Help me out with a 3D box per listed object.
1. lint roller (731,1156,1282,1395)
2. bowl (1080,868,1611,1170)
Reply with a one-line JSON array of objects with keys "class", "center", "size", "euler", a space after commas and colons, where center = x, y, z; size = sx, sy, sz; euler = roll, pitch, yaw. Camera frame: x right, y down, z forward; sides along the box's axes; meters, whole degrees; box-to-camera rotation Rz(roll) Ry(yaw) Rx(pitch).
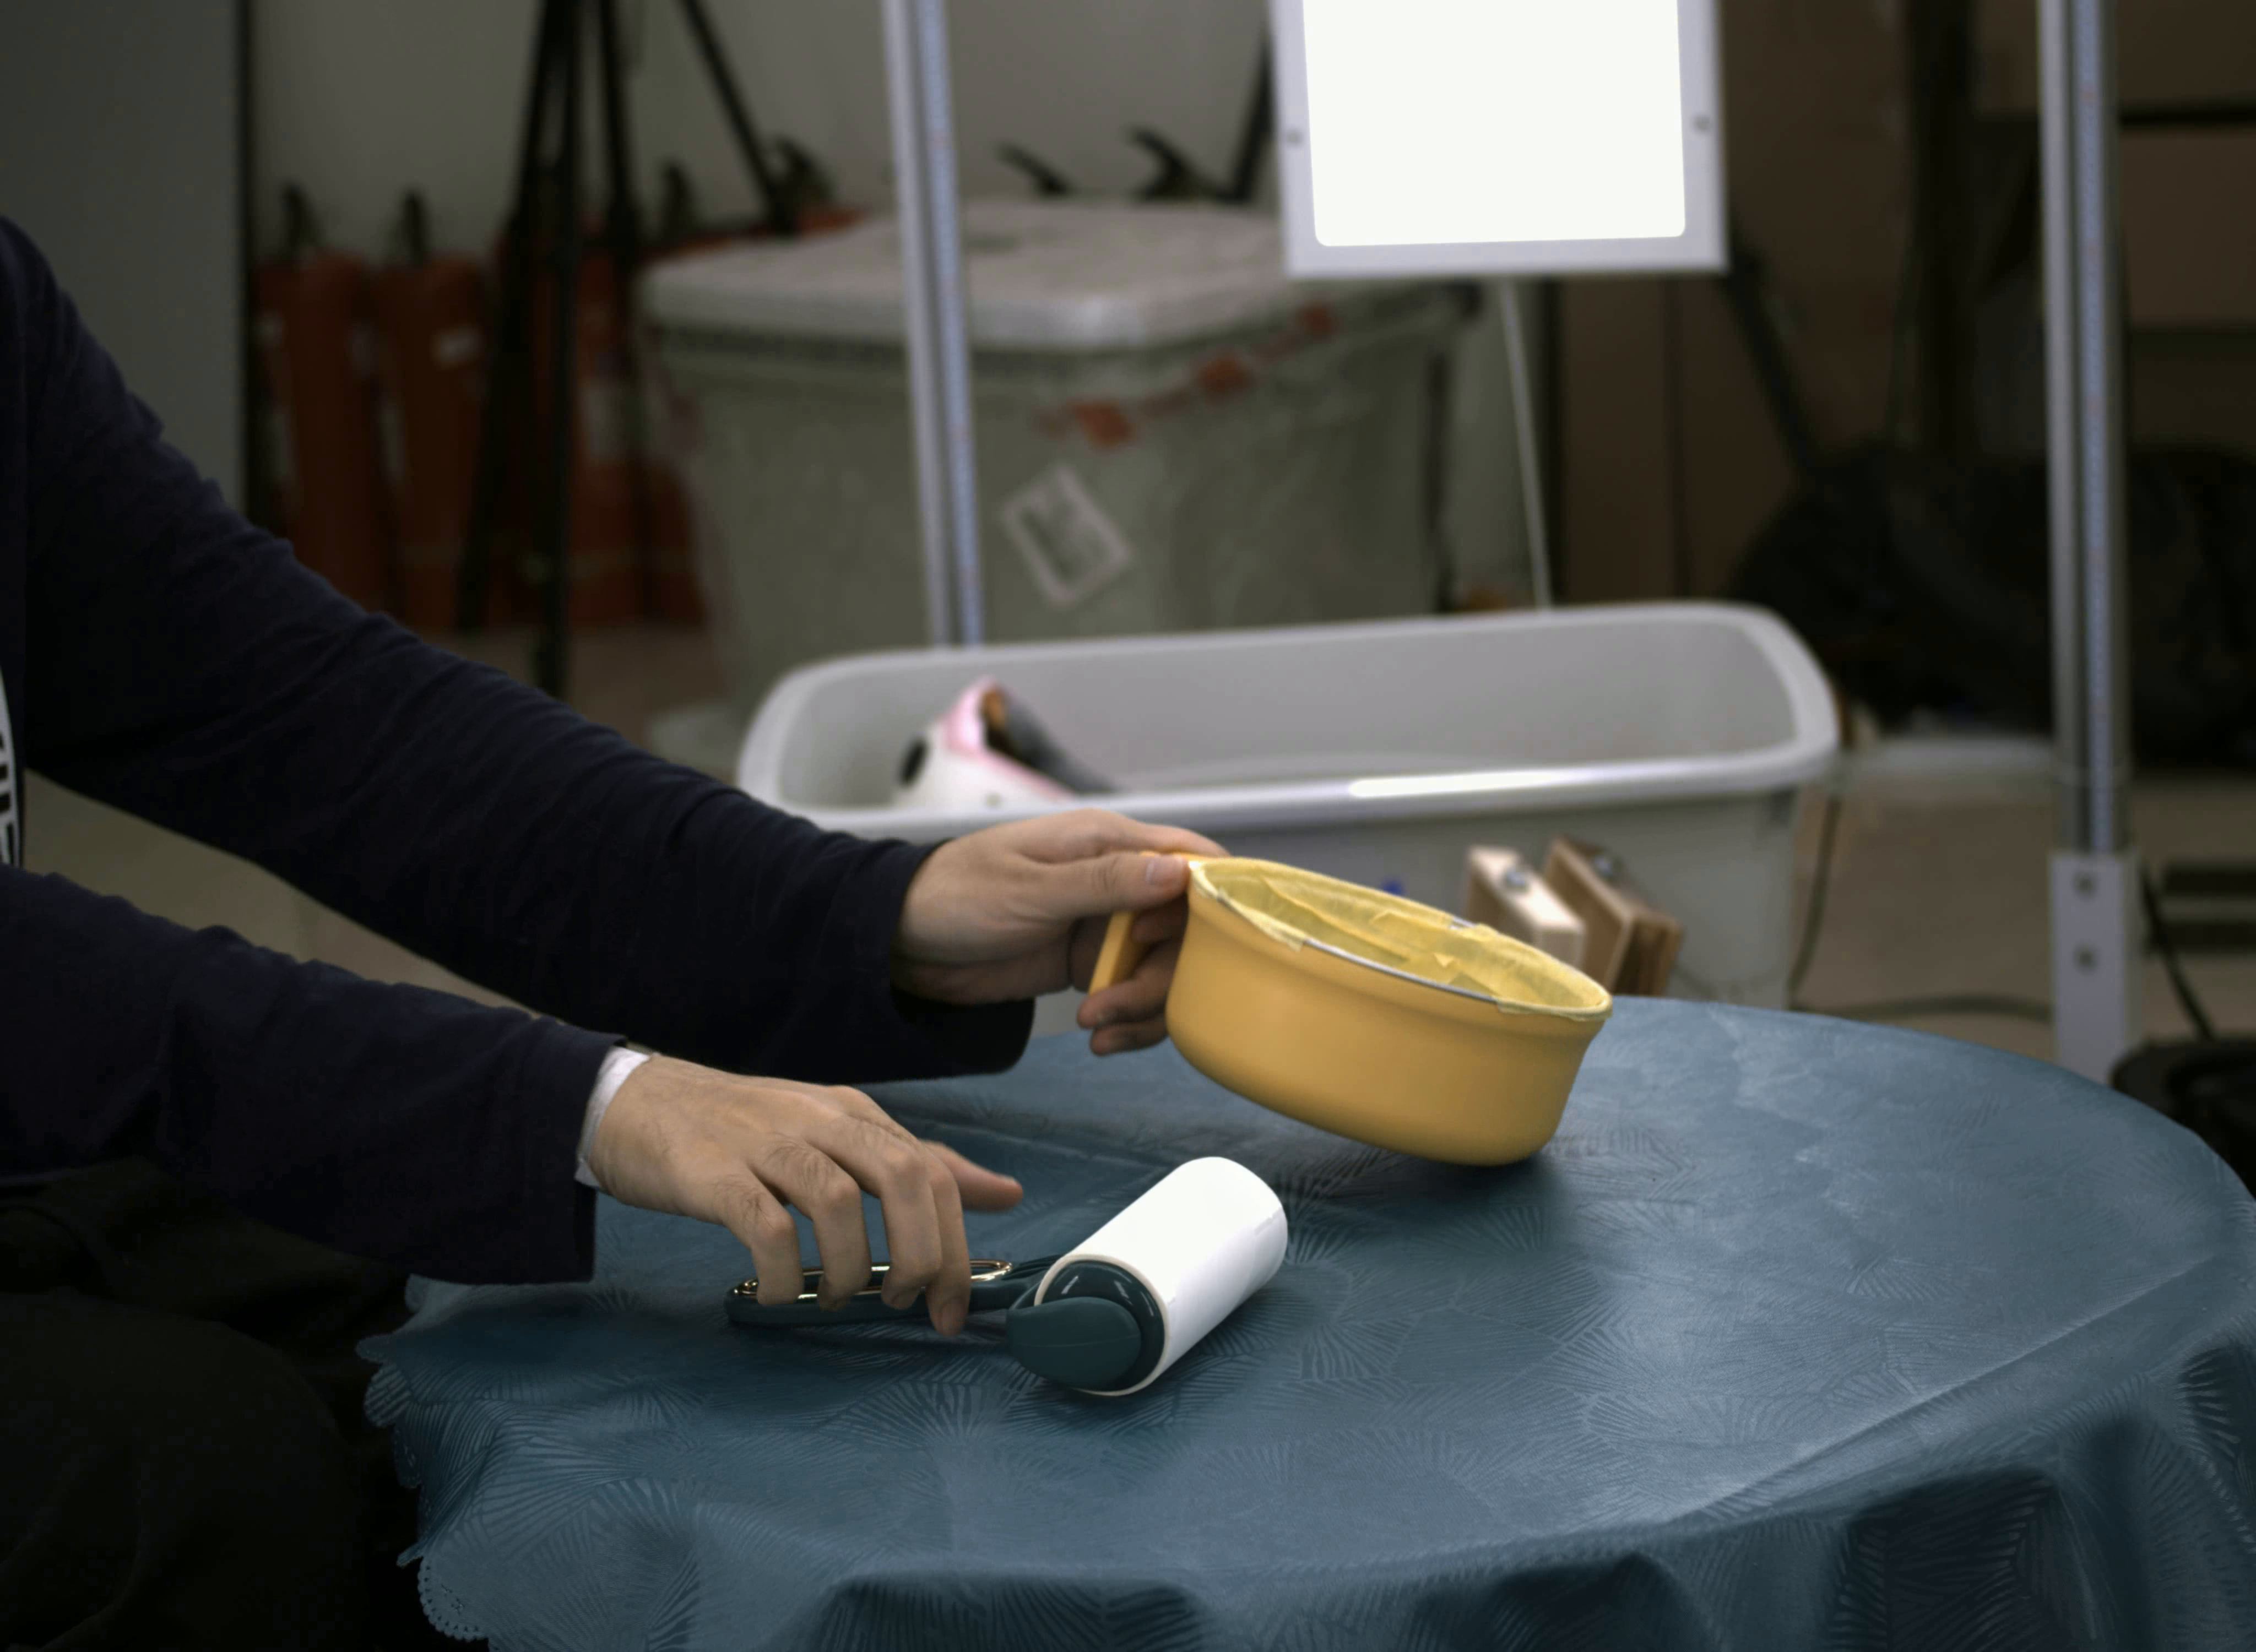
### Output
[{"class": "lint roller", "center": [-0.050, 0.145, 1.768], "size": [0.183, 0.048, 0.131], "euler": [-3, 14, 26]}, {"class": "bowl", "center": [0.074, 0.066, 1.909], "size": [0.181, 0.075, 0.150], "euler": [20, 10, 20]}]
